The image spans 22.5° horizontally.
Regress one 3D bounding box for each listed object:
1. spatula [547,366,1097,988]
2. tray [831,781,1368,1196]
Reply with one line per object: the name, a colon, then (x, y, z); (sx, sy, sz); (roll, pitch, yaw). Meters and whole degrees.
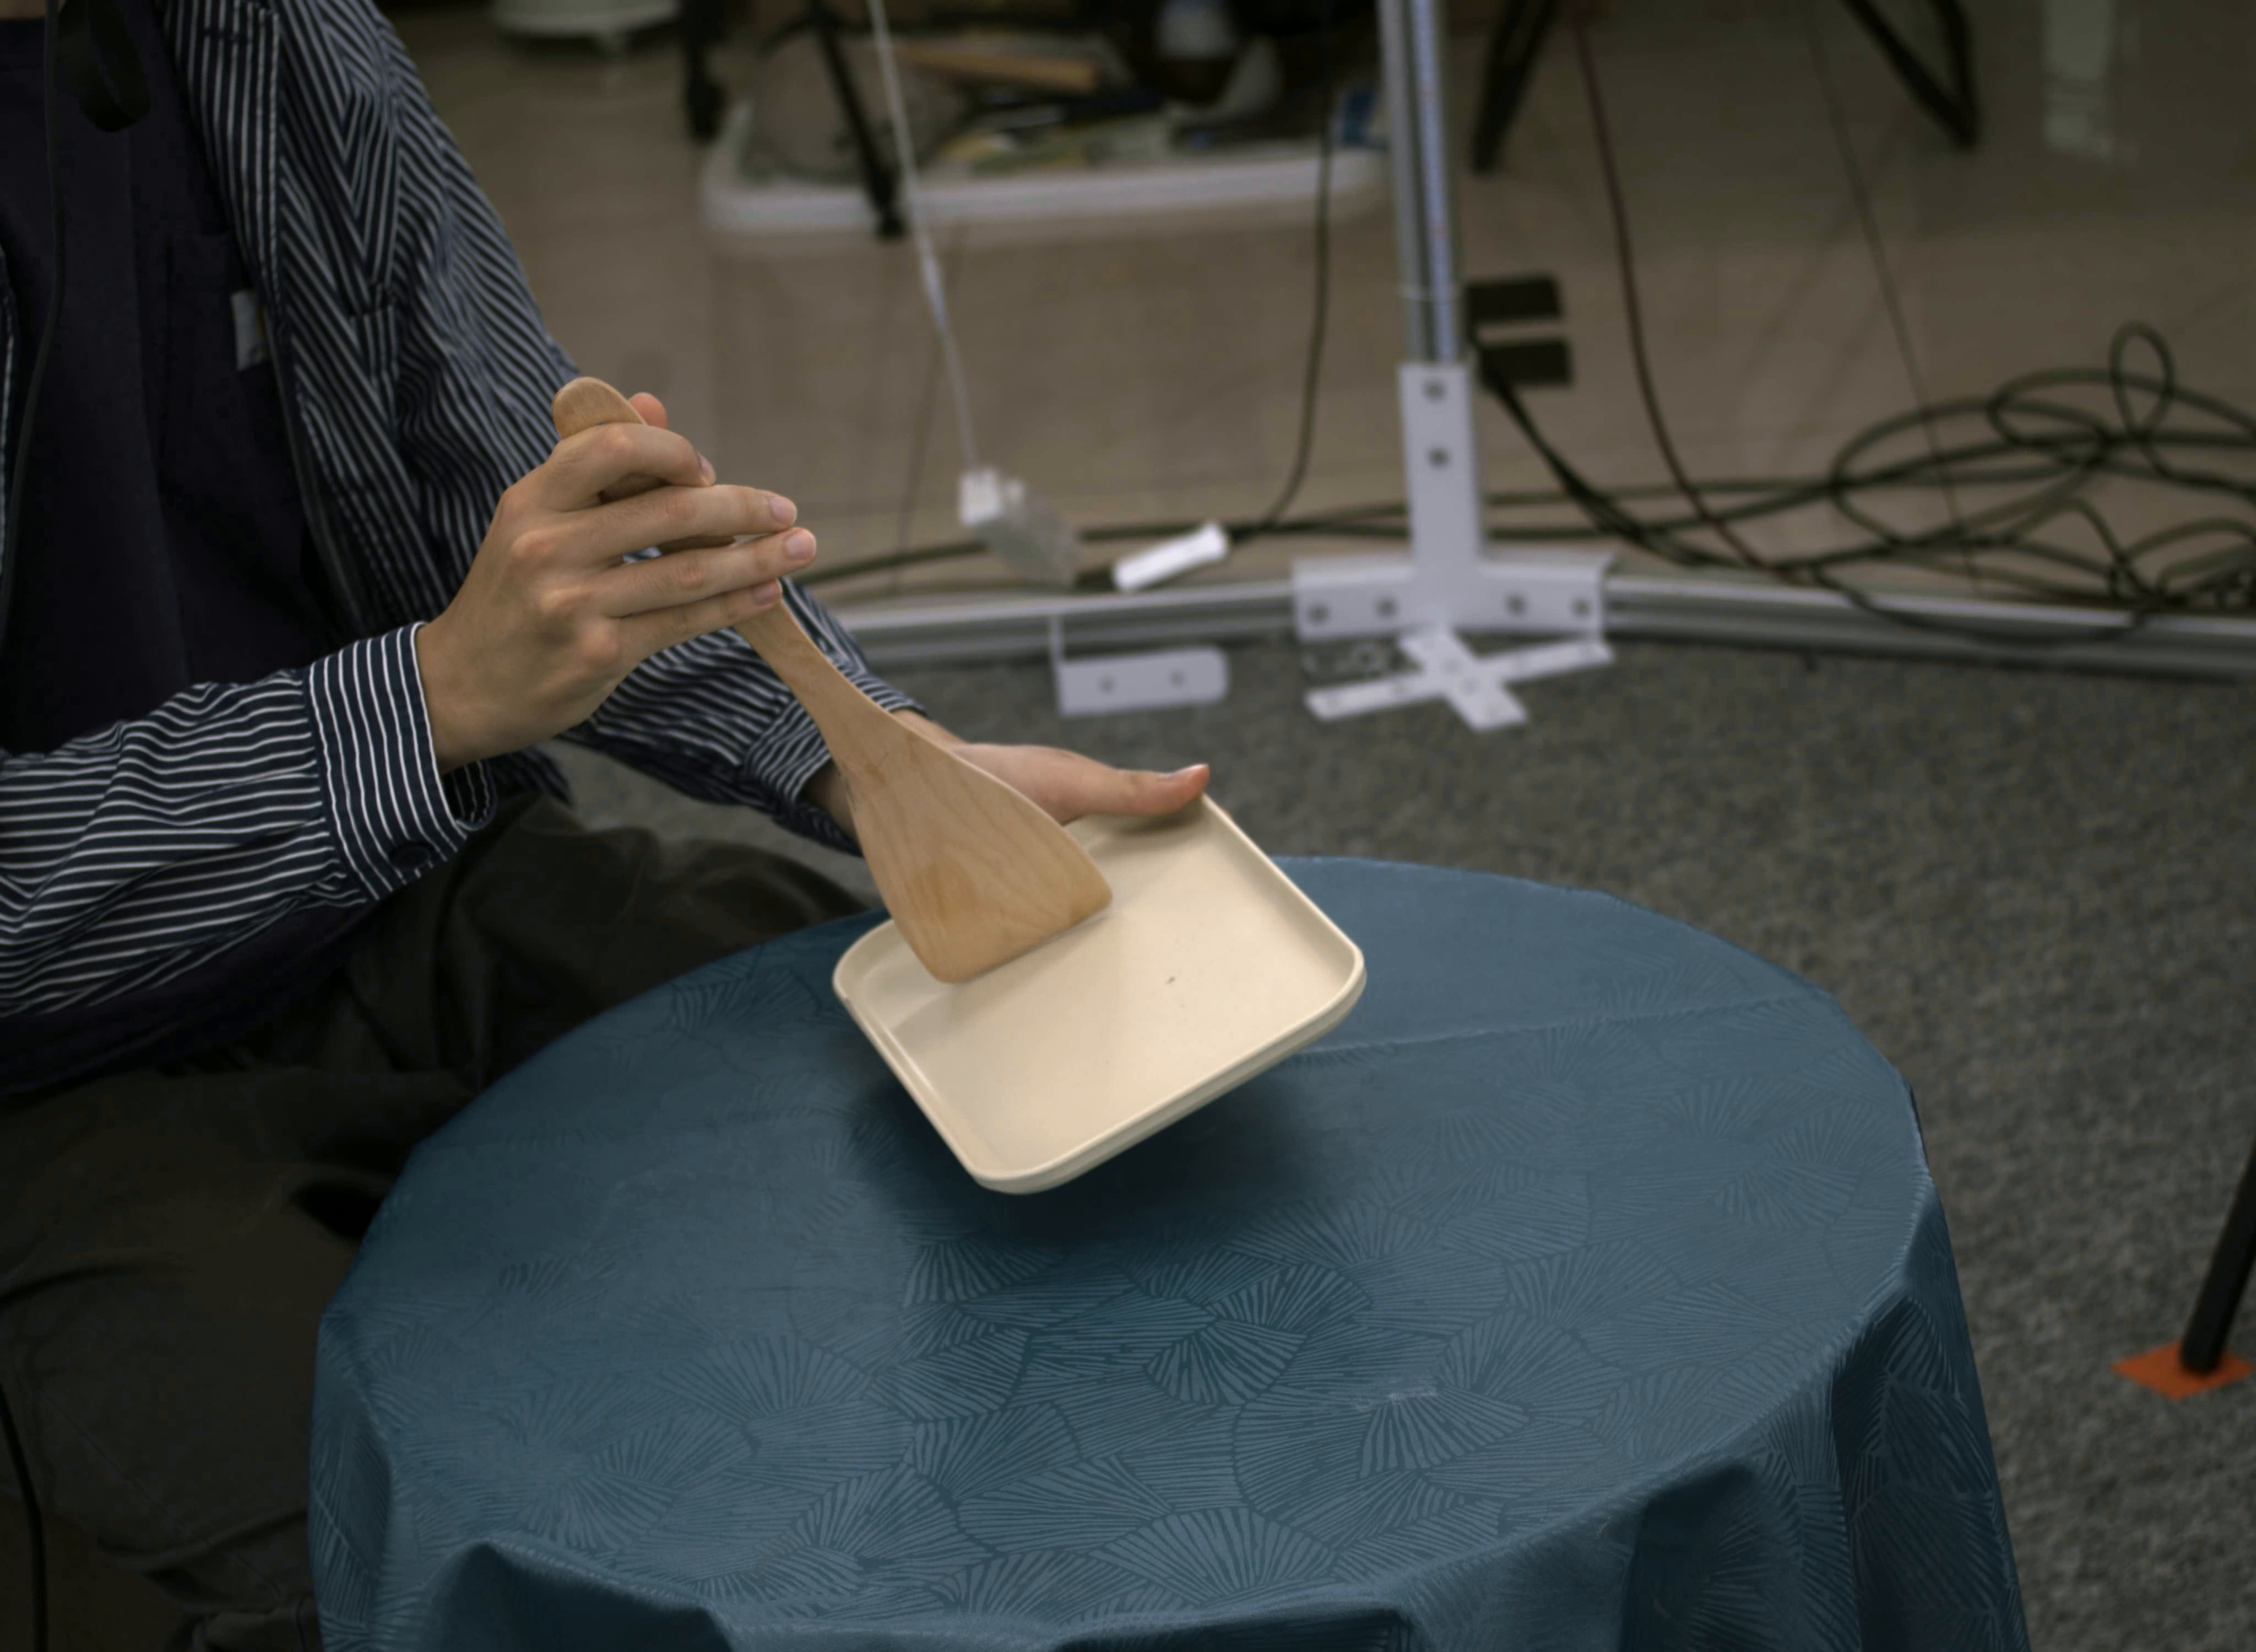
spatula: (-0.124, -0.056, 2.155); (0.080, 0.332, 0.016); (-35, 33, 5)
tray: (-0.013, 0.062, 2.194); (0.171, 0.018, 0.236); (-29, 28, -7)
